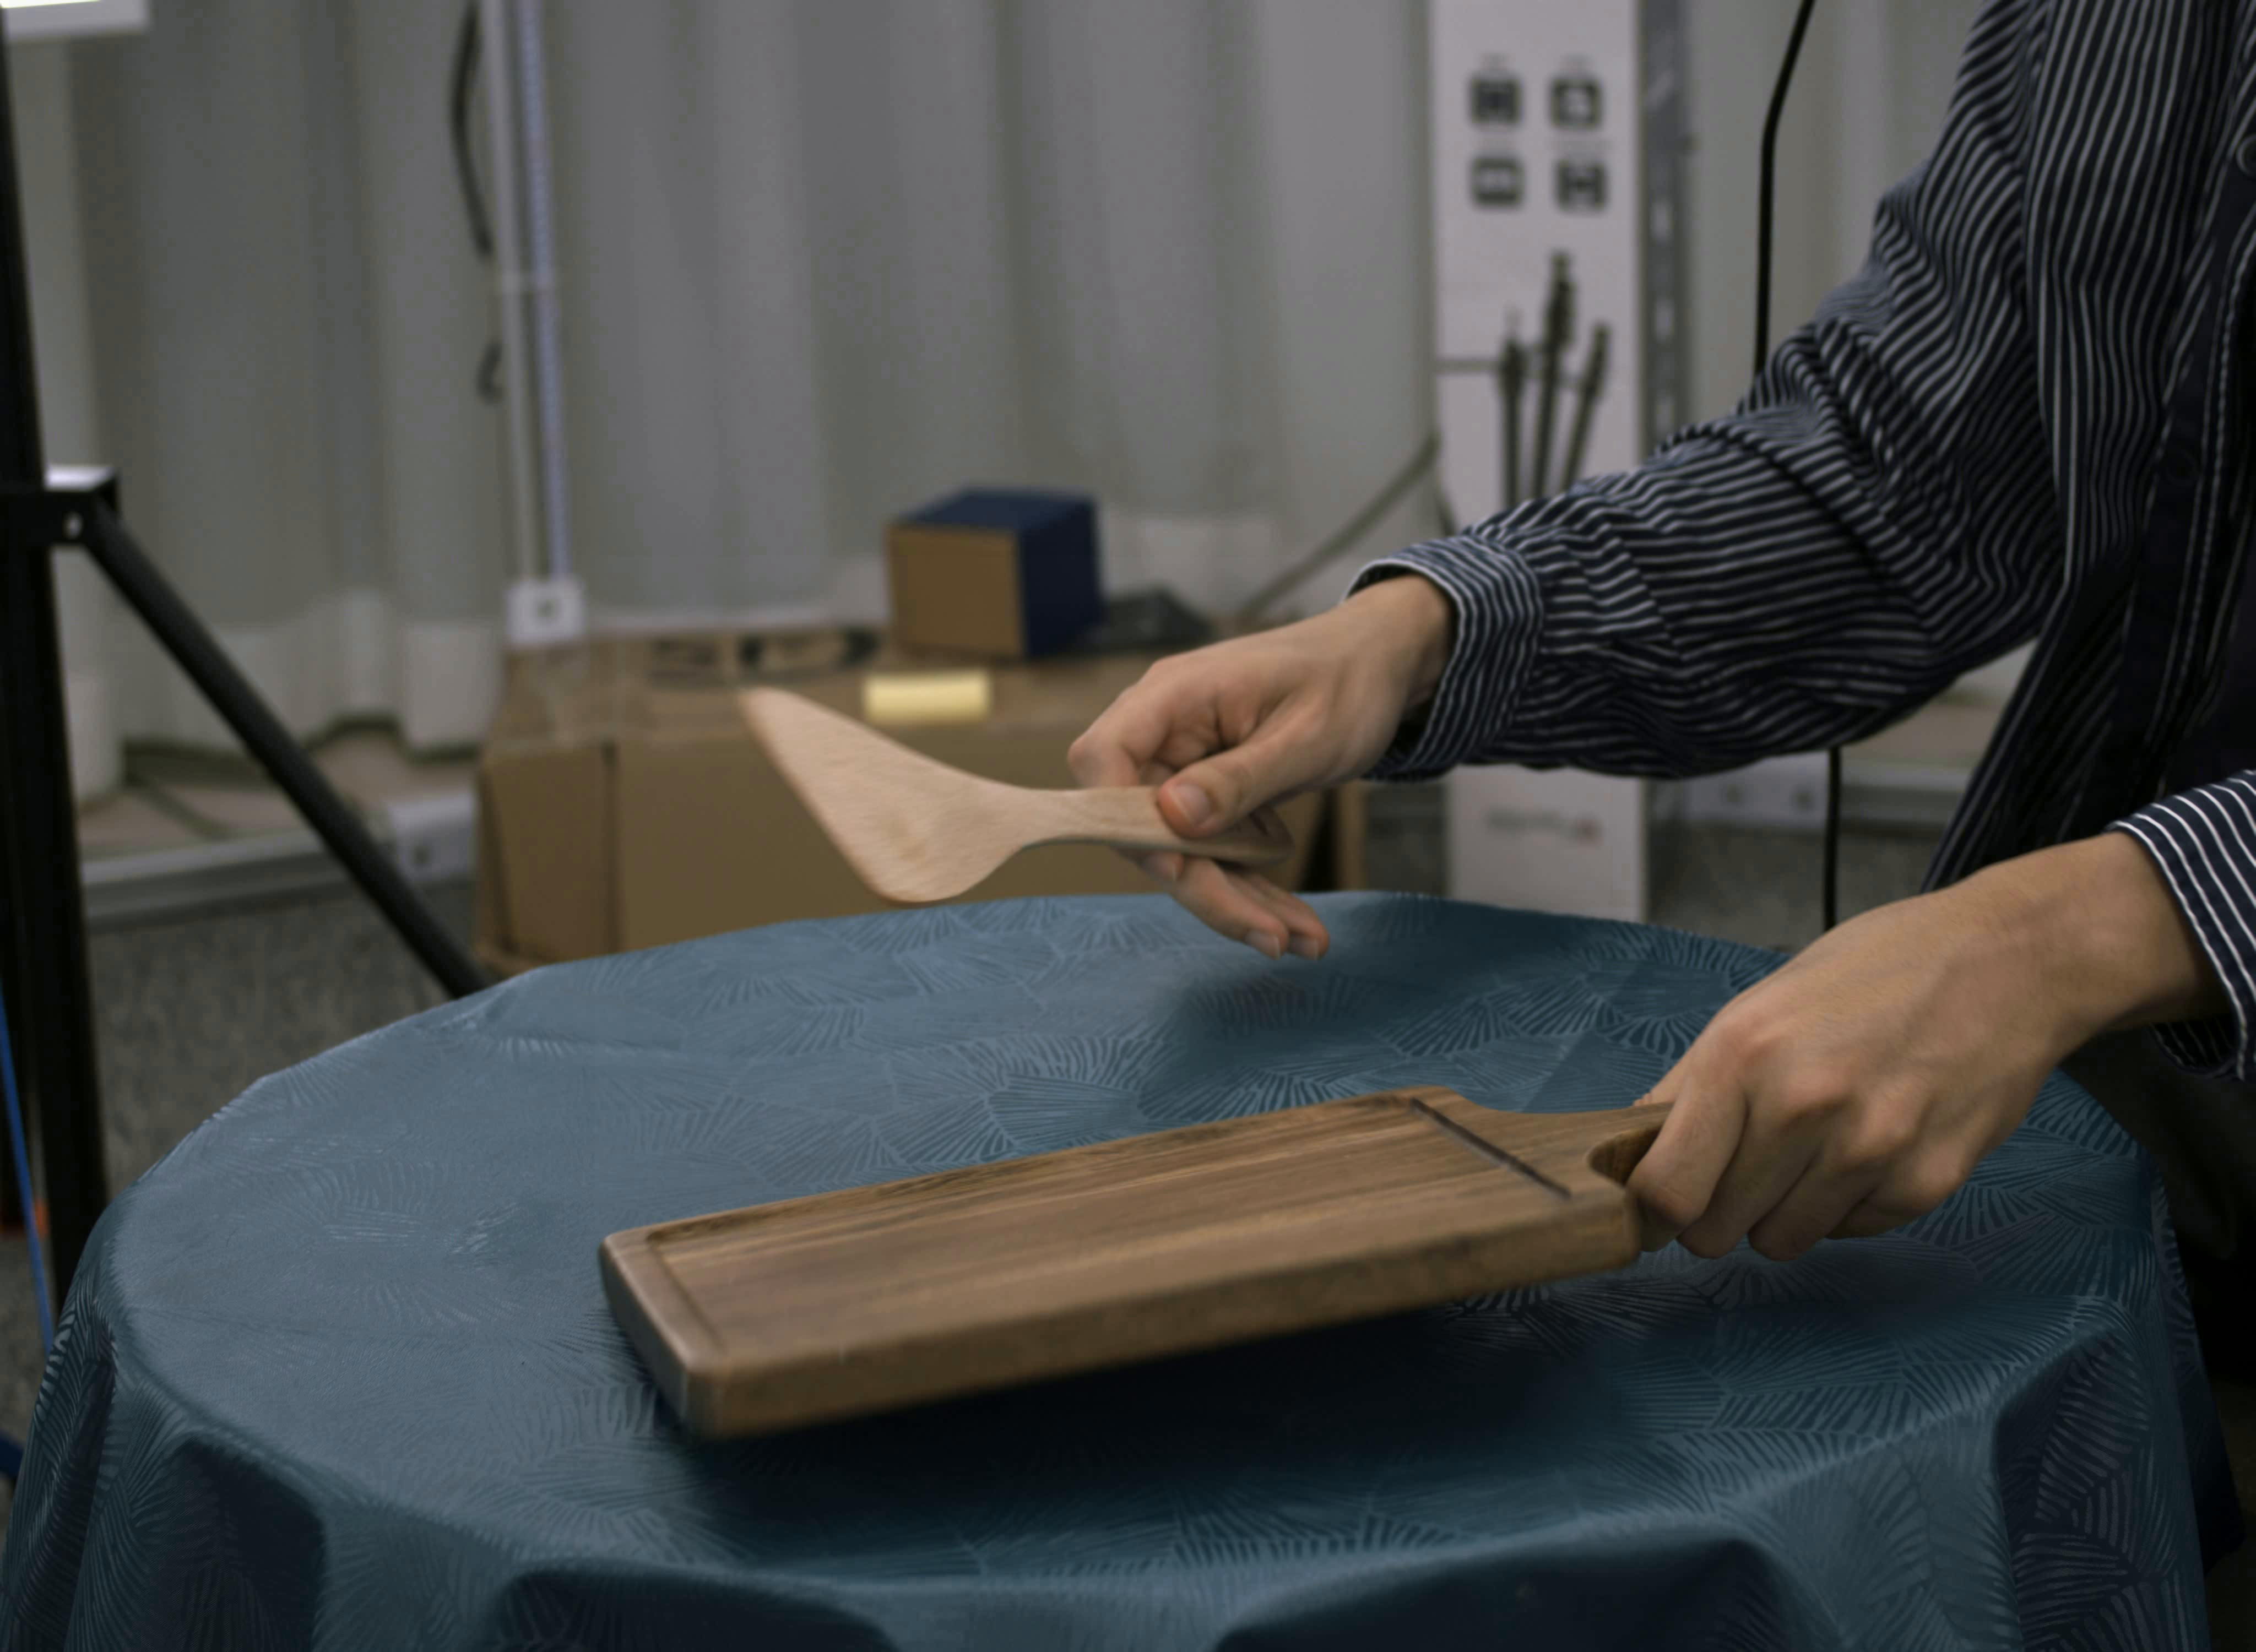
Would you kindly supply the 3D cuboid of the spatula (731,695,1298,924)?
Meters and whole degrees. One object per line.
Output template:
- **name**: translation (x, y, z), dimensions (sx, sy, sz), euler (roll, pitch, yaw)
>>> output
- **spatula**: translation (-0.021, -0.003, 1.628), dimensions (0.016, 0.081, 0.320), euler (-43, -19, 22)

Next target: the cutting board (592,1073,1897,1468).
- **cutting board**: translation (0.040, 0.108, 1.419), dimensions (0.348, 0.023, 0.203), euler (-10, 9, -9)
